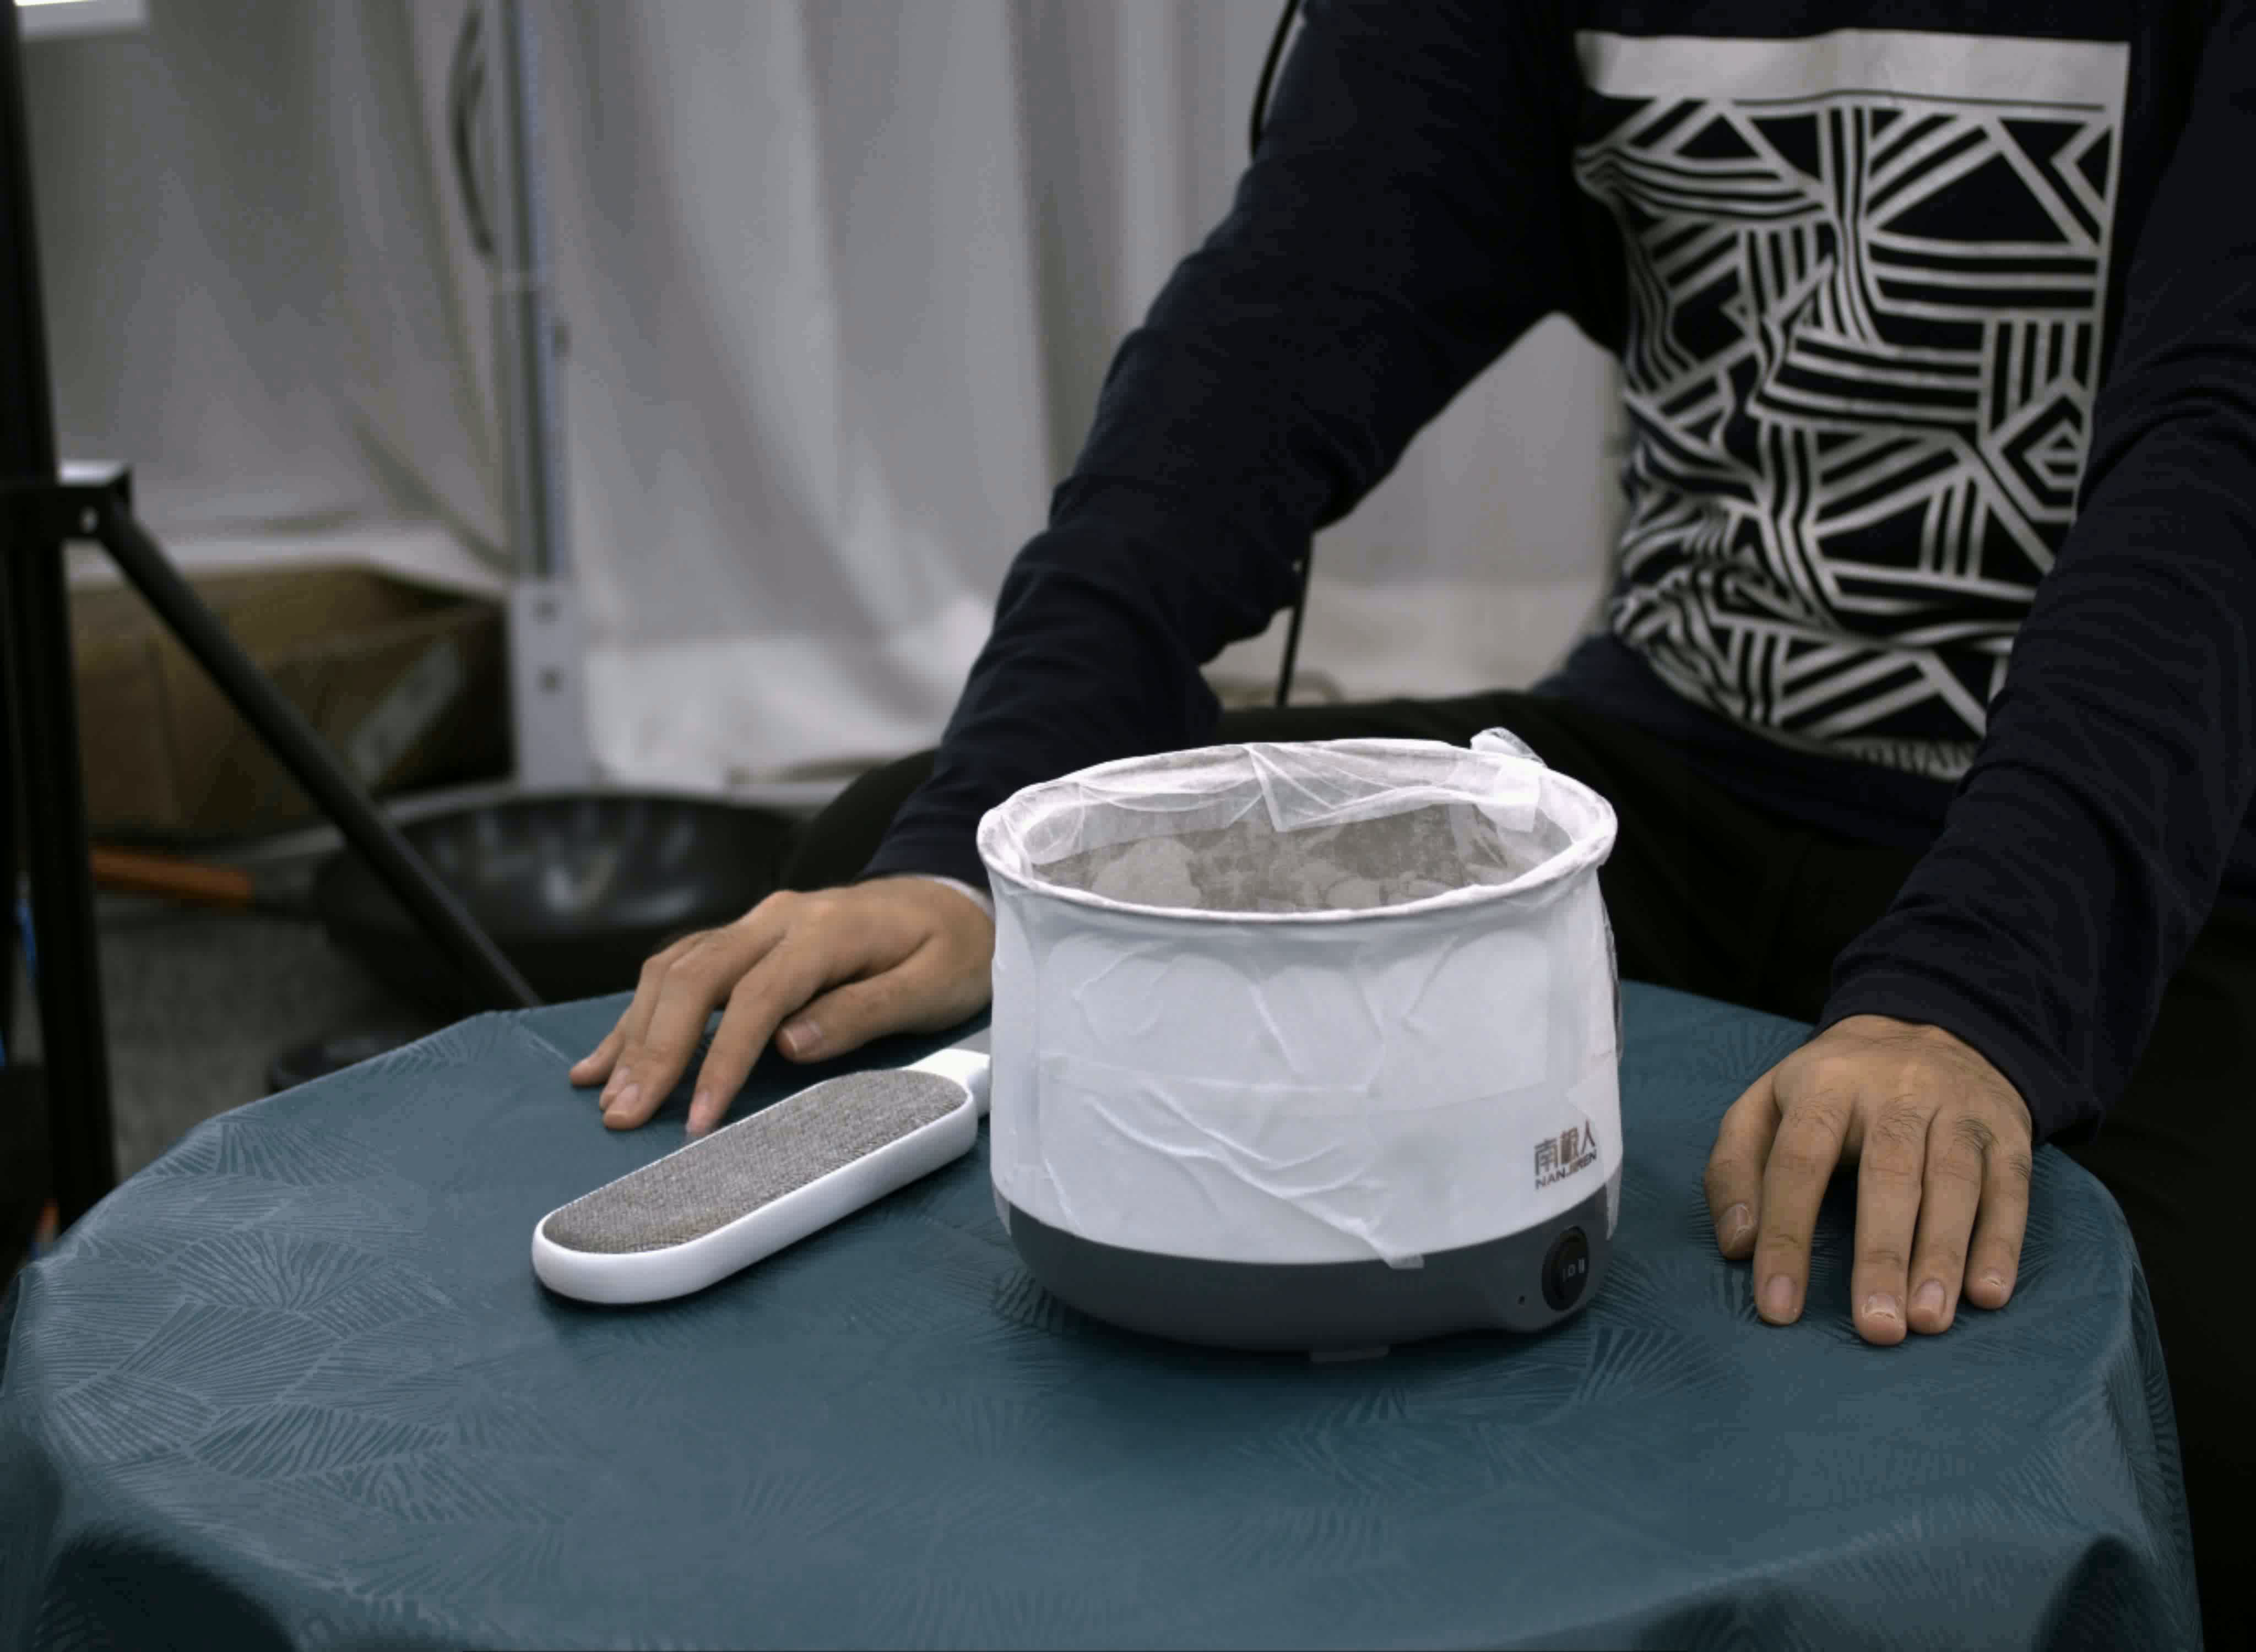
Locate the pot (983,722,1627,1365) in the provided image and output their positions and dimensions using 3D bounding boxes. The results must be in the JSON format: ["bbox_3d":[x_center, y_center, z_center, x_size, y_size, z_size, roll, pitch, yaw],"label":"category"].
[{"bbox_3d":[0.065,0.053,1.492,0.182,0.136,0.229,12,21,36],"label":"pot"}]

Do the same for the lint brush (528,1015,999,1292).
[{"bbox_3d":[-0.072,0.086,1.601,0.061,0.021,0.303,1,15,35],"label":"lint brush"}]
